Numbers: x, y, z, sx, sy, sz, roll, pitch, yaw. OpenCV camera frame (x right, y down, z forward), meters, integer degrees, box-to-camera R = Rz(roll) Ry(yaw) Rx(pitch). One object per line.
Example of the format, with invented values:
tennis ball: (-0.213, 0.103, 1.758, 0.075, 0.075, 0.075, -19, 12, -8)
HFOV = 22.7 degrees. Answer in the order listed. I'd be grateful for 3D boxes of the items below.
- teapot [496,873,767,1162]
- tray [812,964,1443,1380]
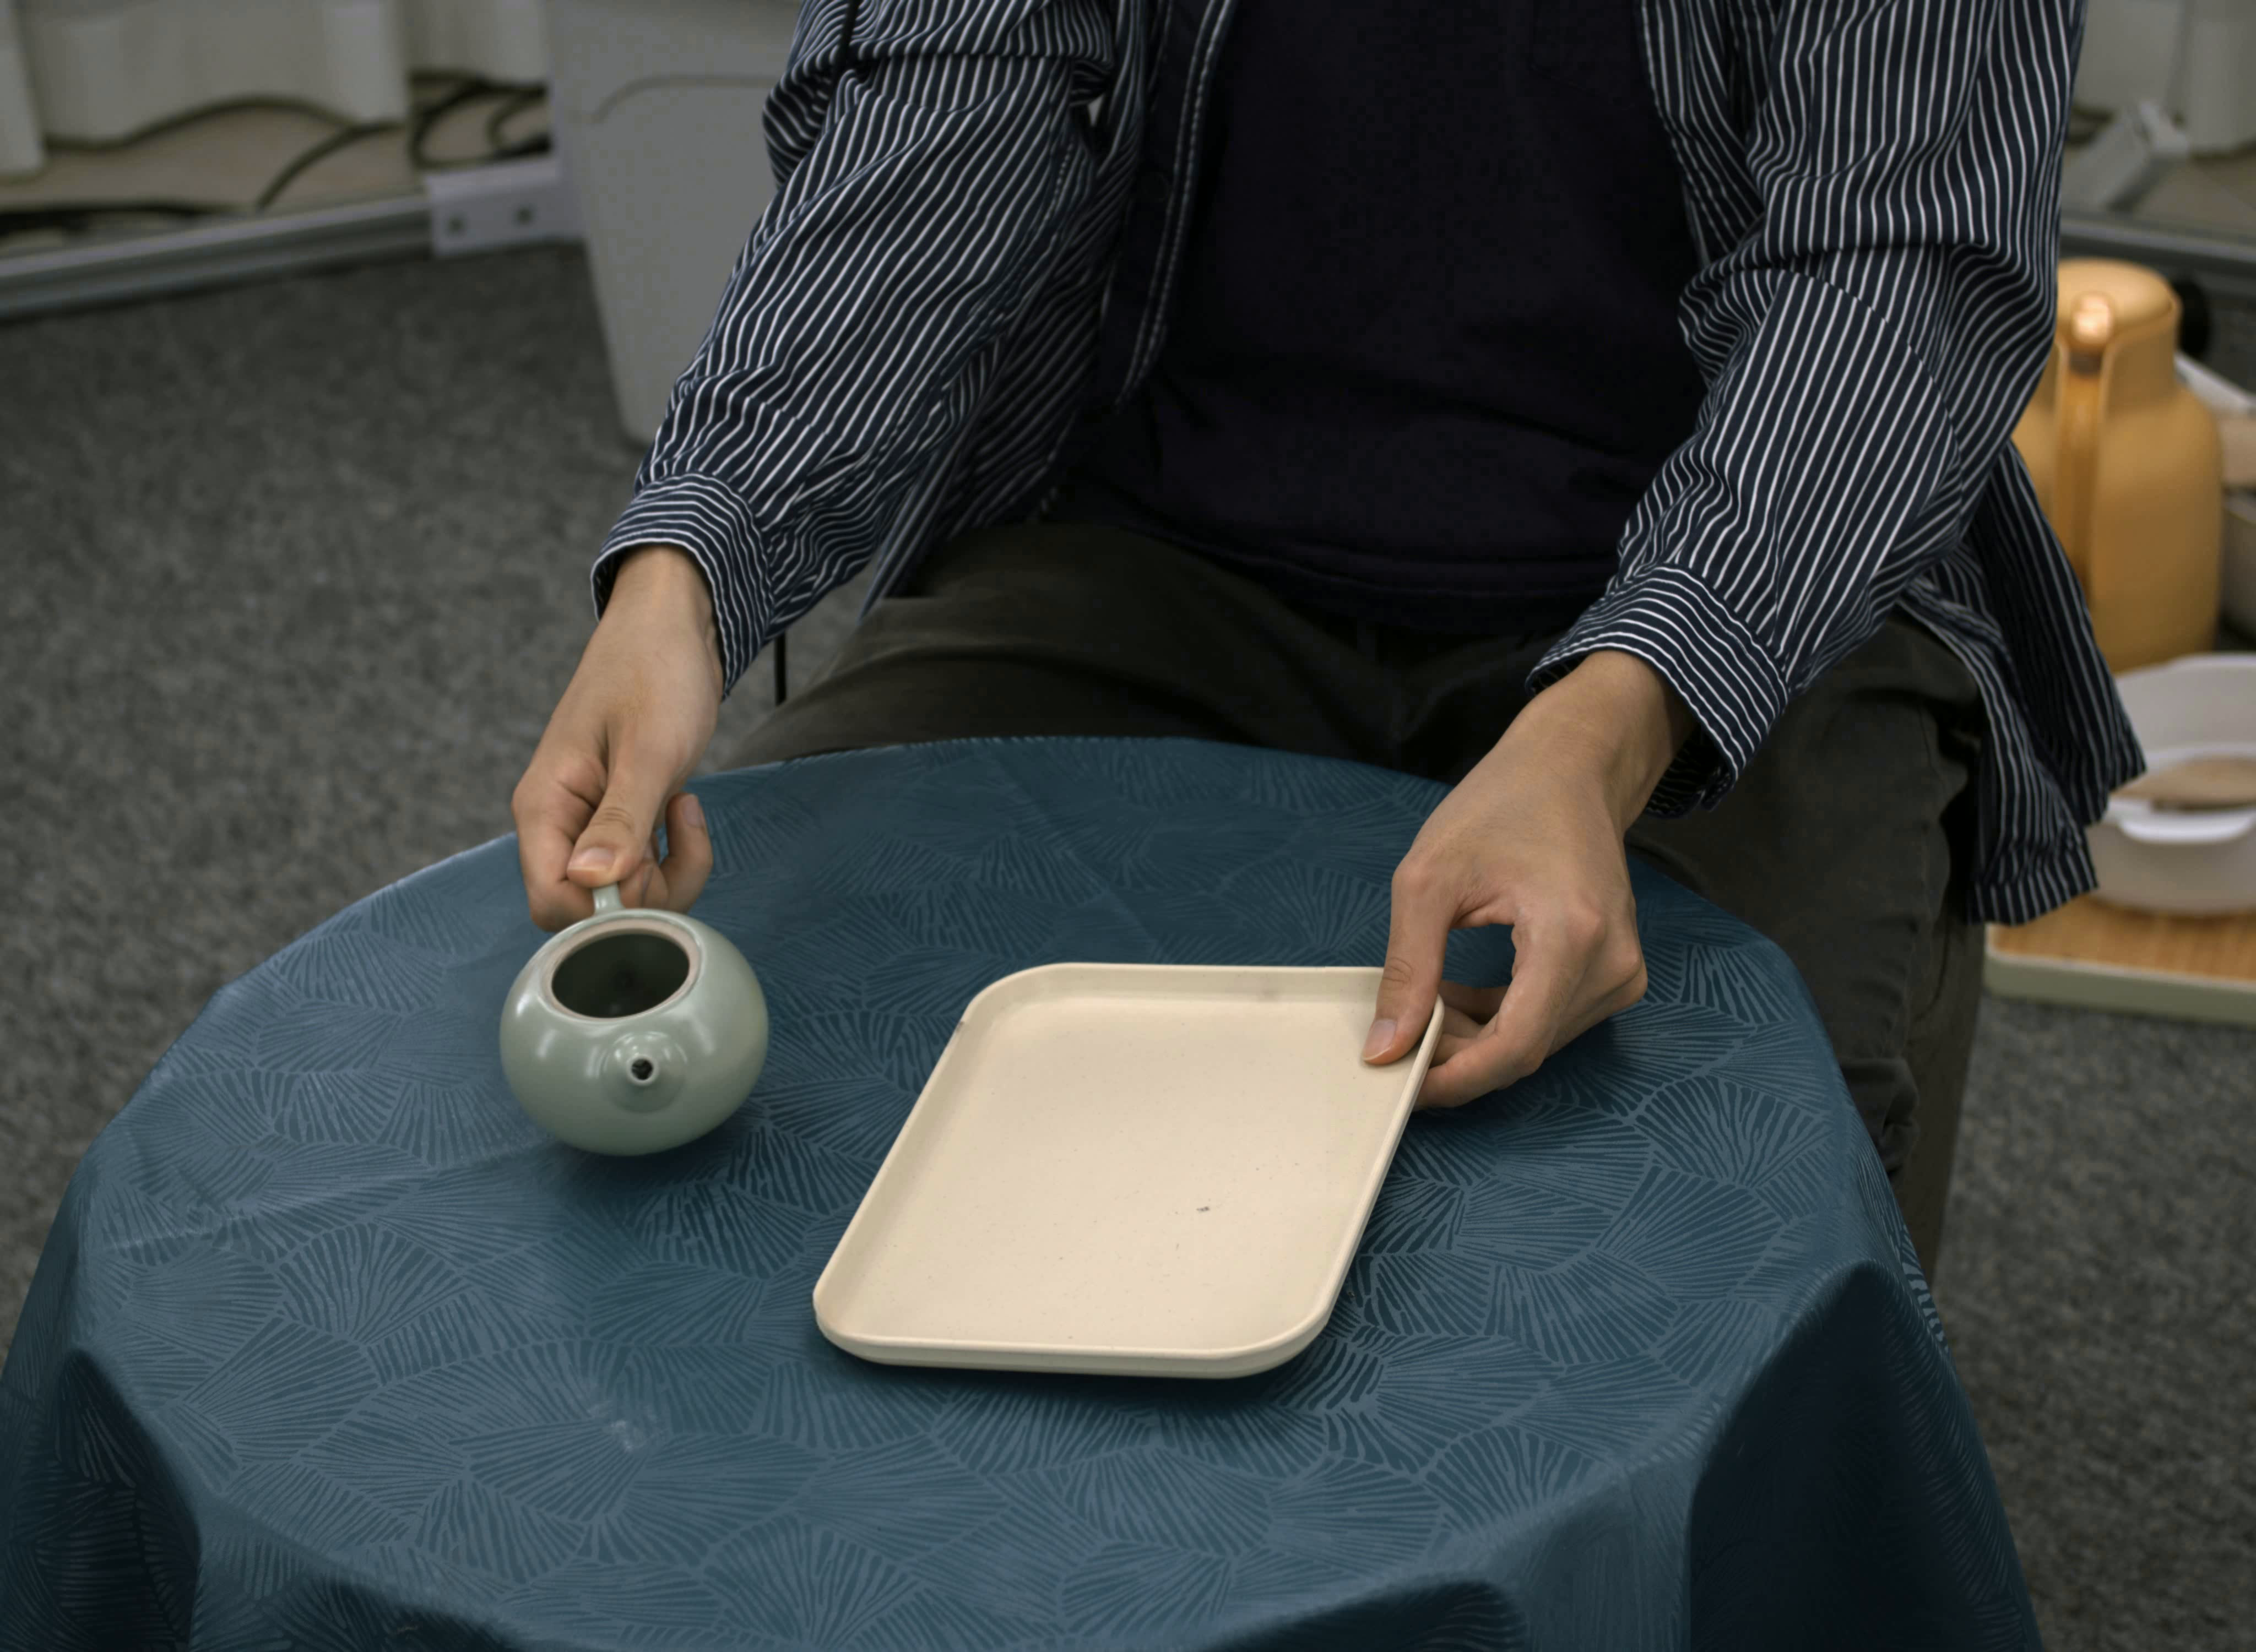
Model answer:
teapot: (-0.168, 0.066, 1.895, 0.091, 0.060, 0.130, -12, 37, 0)
tray: (0.004, 0.112, 1.843, 0.170, 0.017, 0.244, 1, 28, 16)
